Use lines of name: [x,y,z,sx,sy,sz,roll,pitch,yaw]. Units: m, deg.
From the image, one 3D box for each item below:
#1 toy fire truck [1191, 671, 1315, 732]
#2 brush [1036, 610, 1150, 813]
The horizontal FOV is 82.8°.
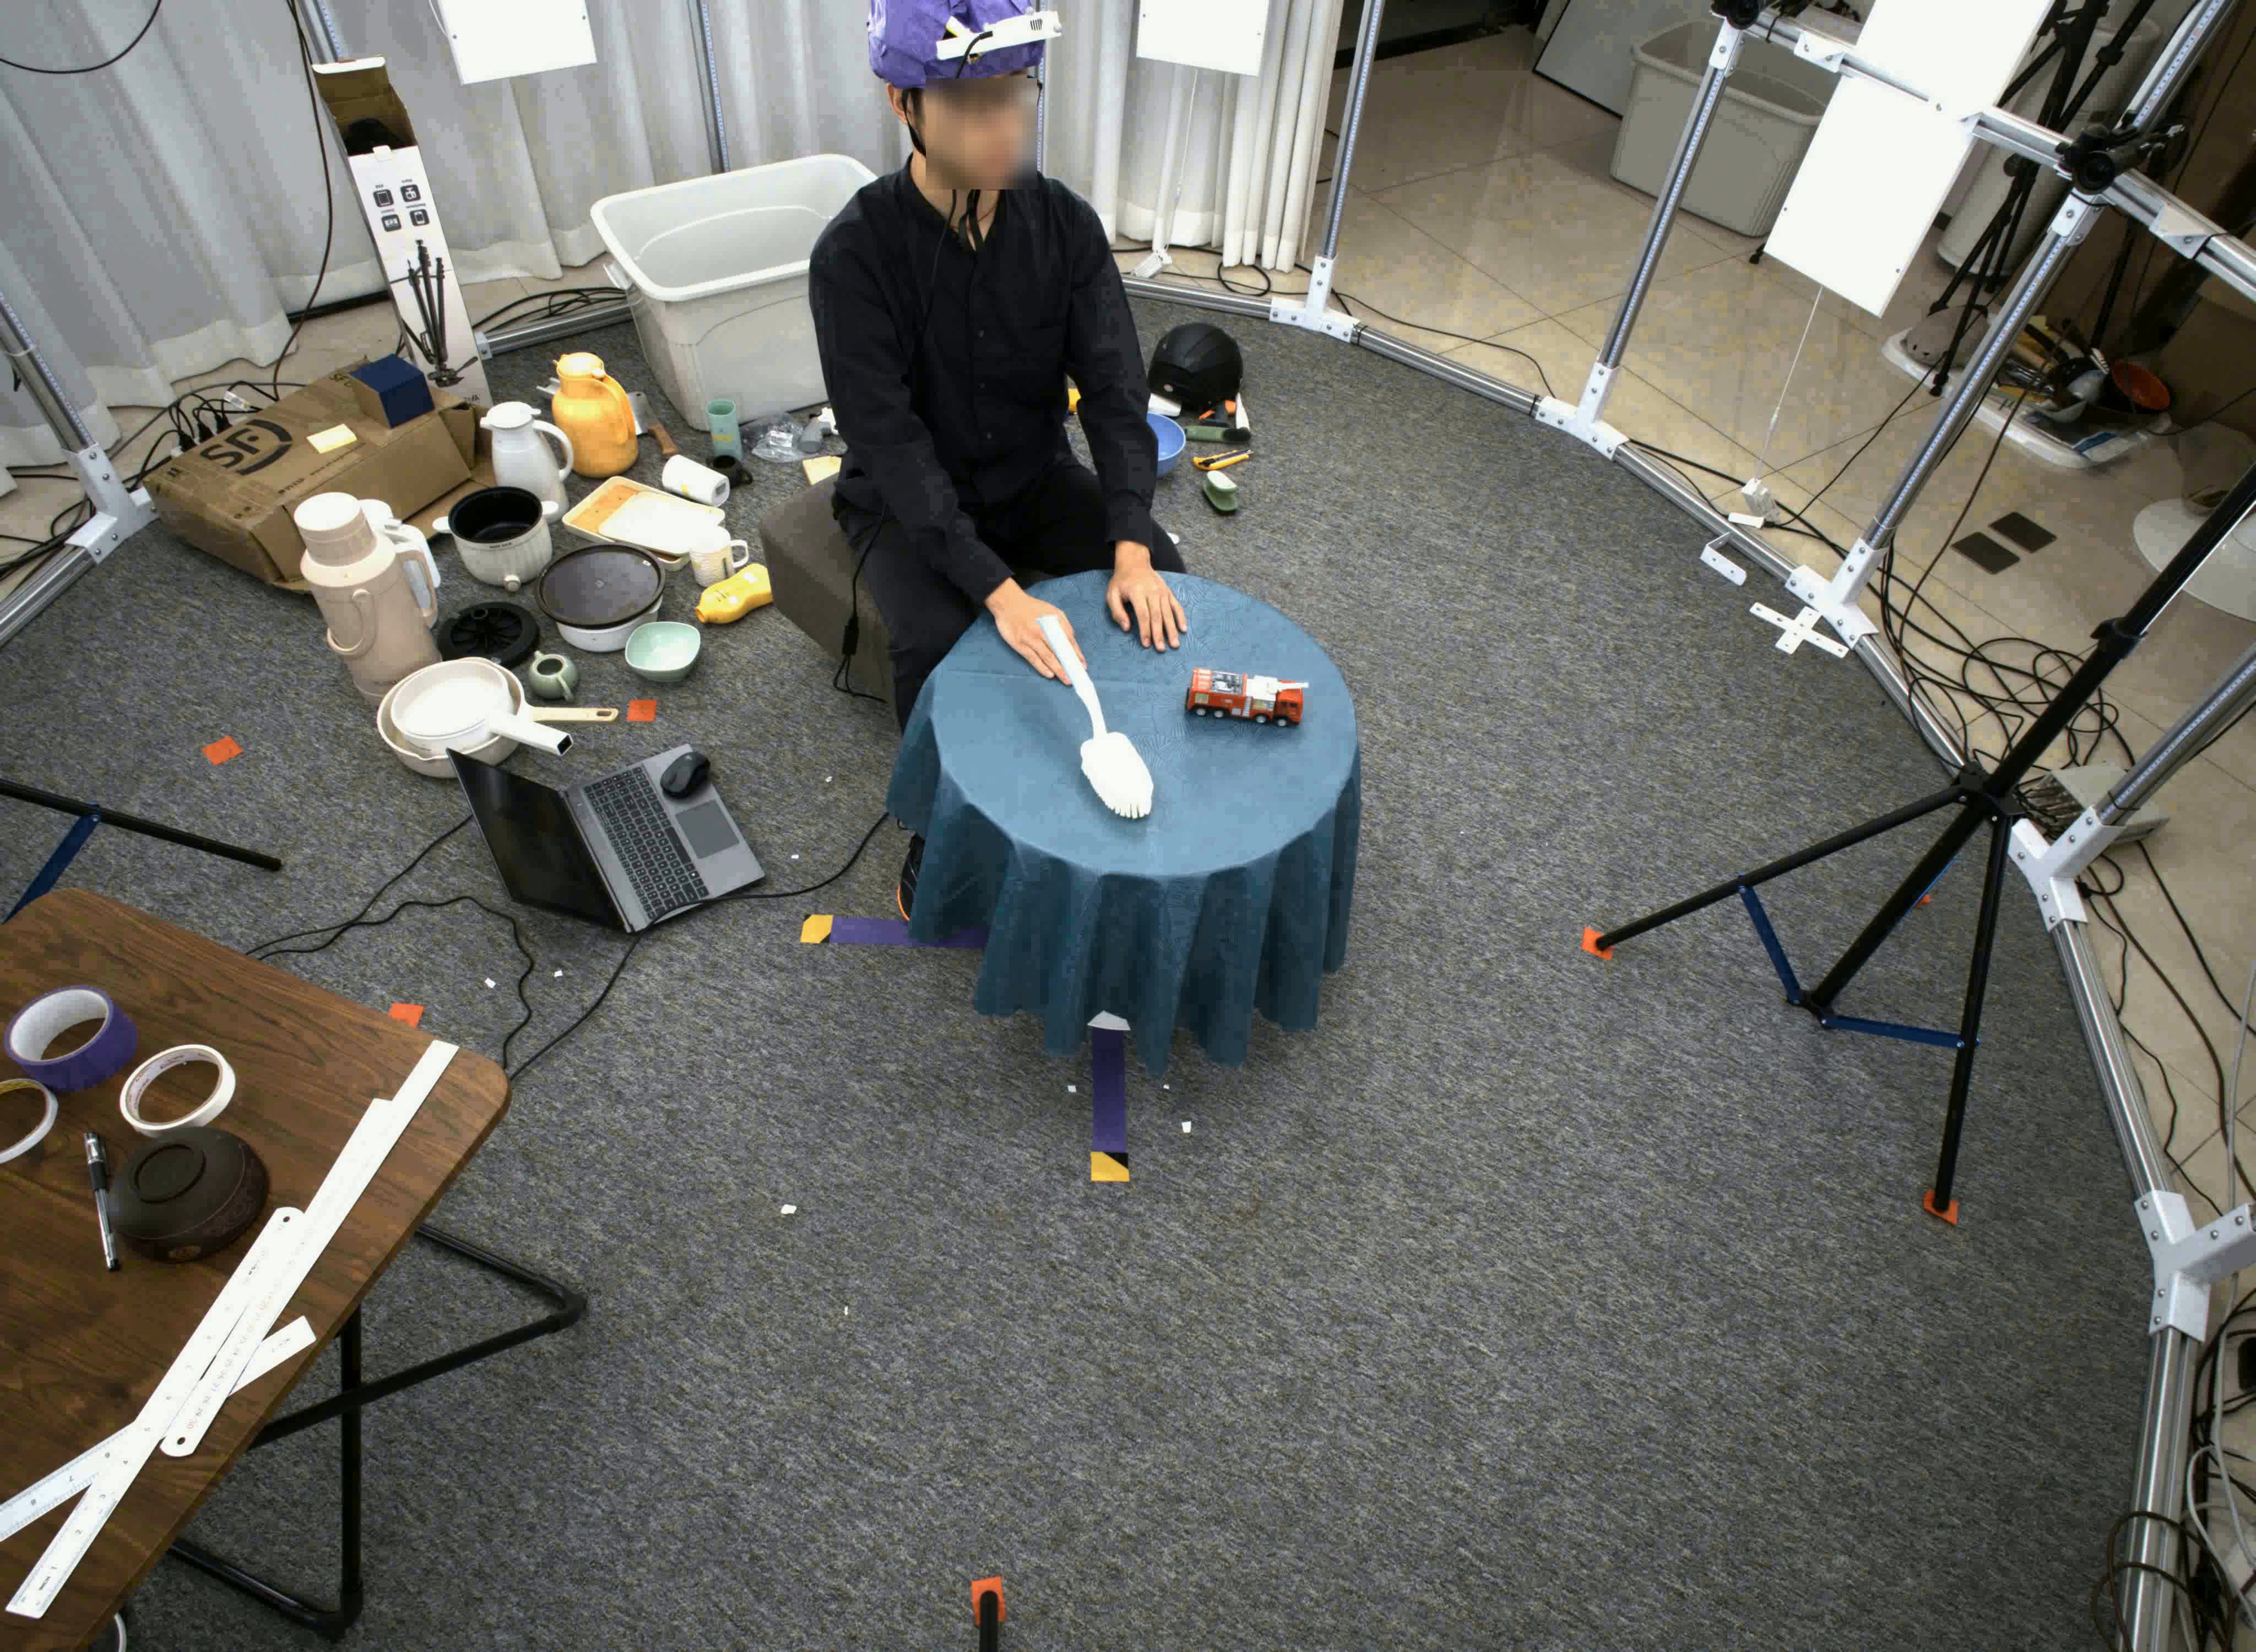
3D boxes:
toy fire truck: [0.173,-0.177,1.796,0.168,0.068,0.055,6,47,1]
brush: [-0.051,-0.153,1.743,0.082,0.083,0.331,5,51,-51]
